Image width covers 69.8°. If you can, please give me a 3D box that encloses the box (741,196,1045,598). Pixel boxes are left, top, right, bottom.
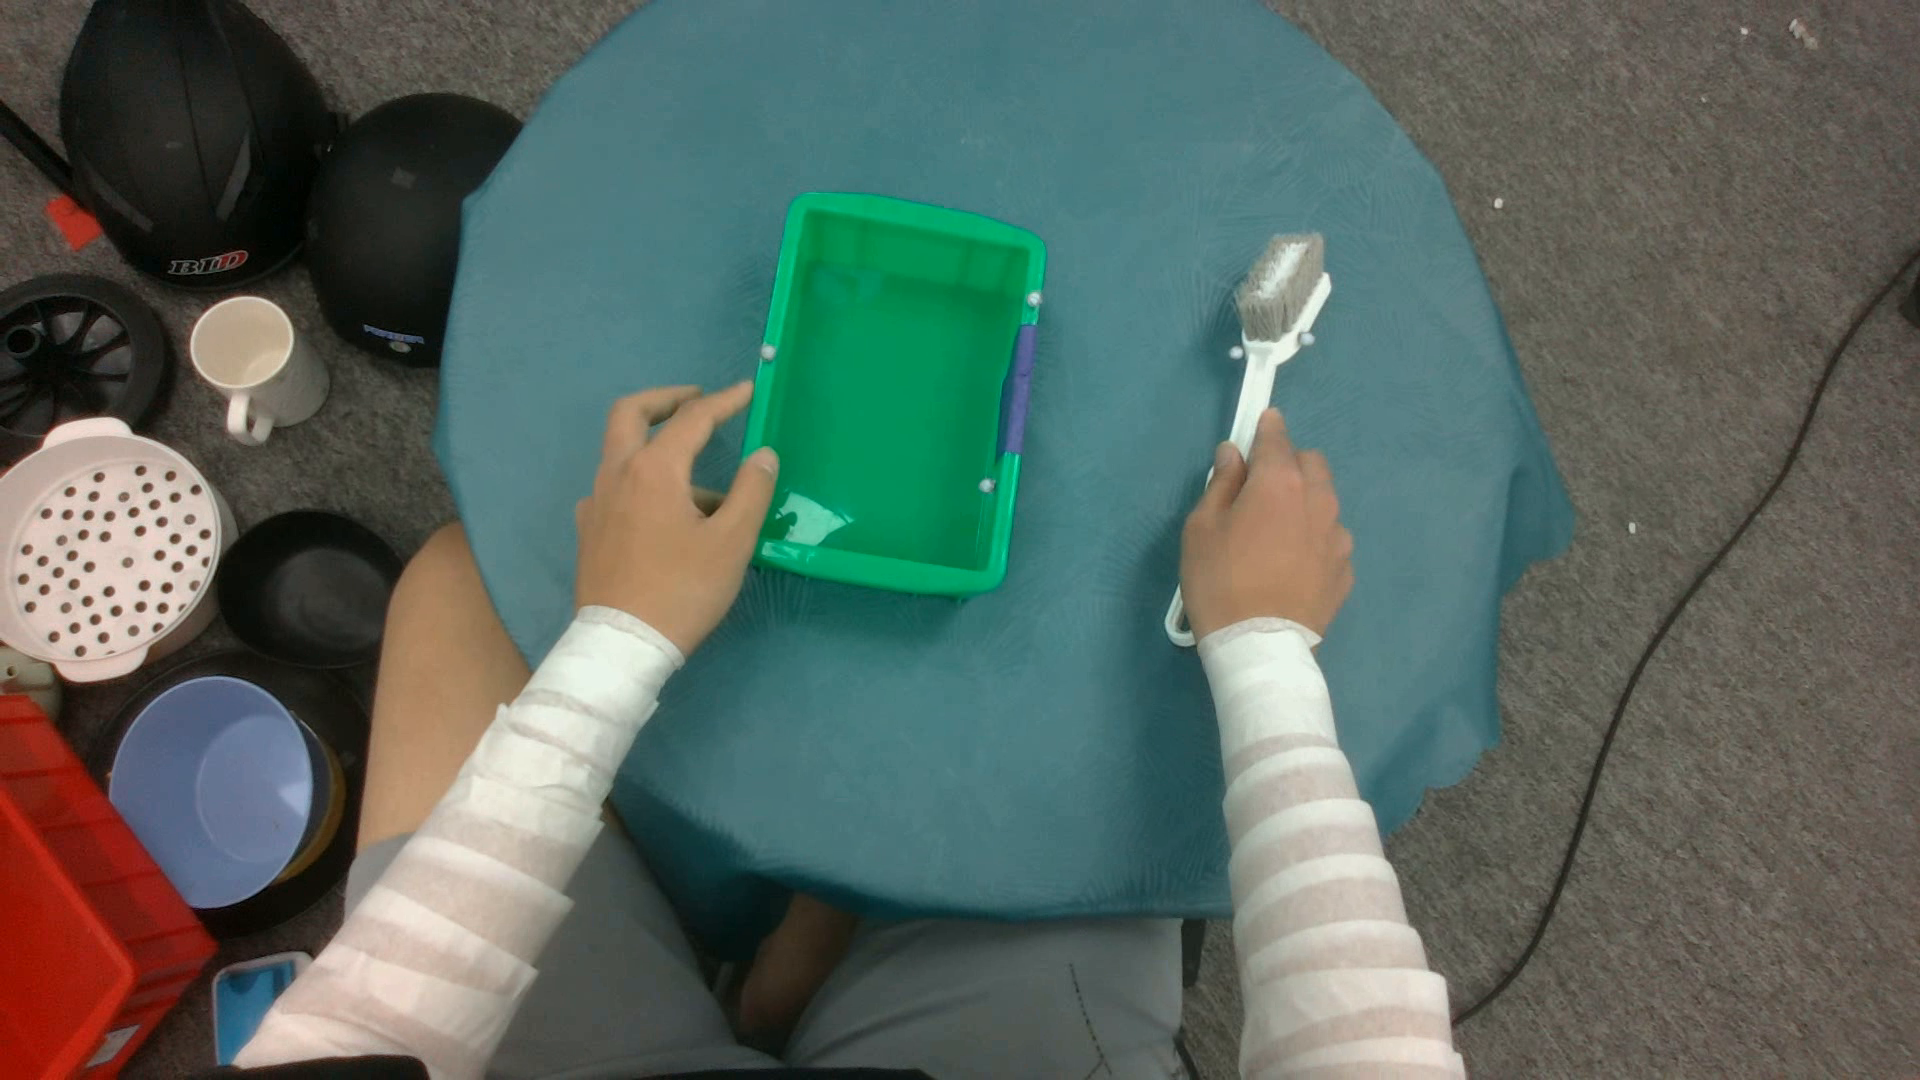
[{"bbox_3d":[-0.035,-0.072,0.737,0.139,0.065,0.211,8,73,-6],"label":"box"}]

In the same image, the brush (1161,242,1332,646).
[{"bbox_3d":[0.155,-0.059,0.759,0.034,0.050,0.244,14,71,29],"label":"brush"}]
